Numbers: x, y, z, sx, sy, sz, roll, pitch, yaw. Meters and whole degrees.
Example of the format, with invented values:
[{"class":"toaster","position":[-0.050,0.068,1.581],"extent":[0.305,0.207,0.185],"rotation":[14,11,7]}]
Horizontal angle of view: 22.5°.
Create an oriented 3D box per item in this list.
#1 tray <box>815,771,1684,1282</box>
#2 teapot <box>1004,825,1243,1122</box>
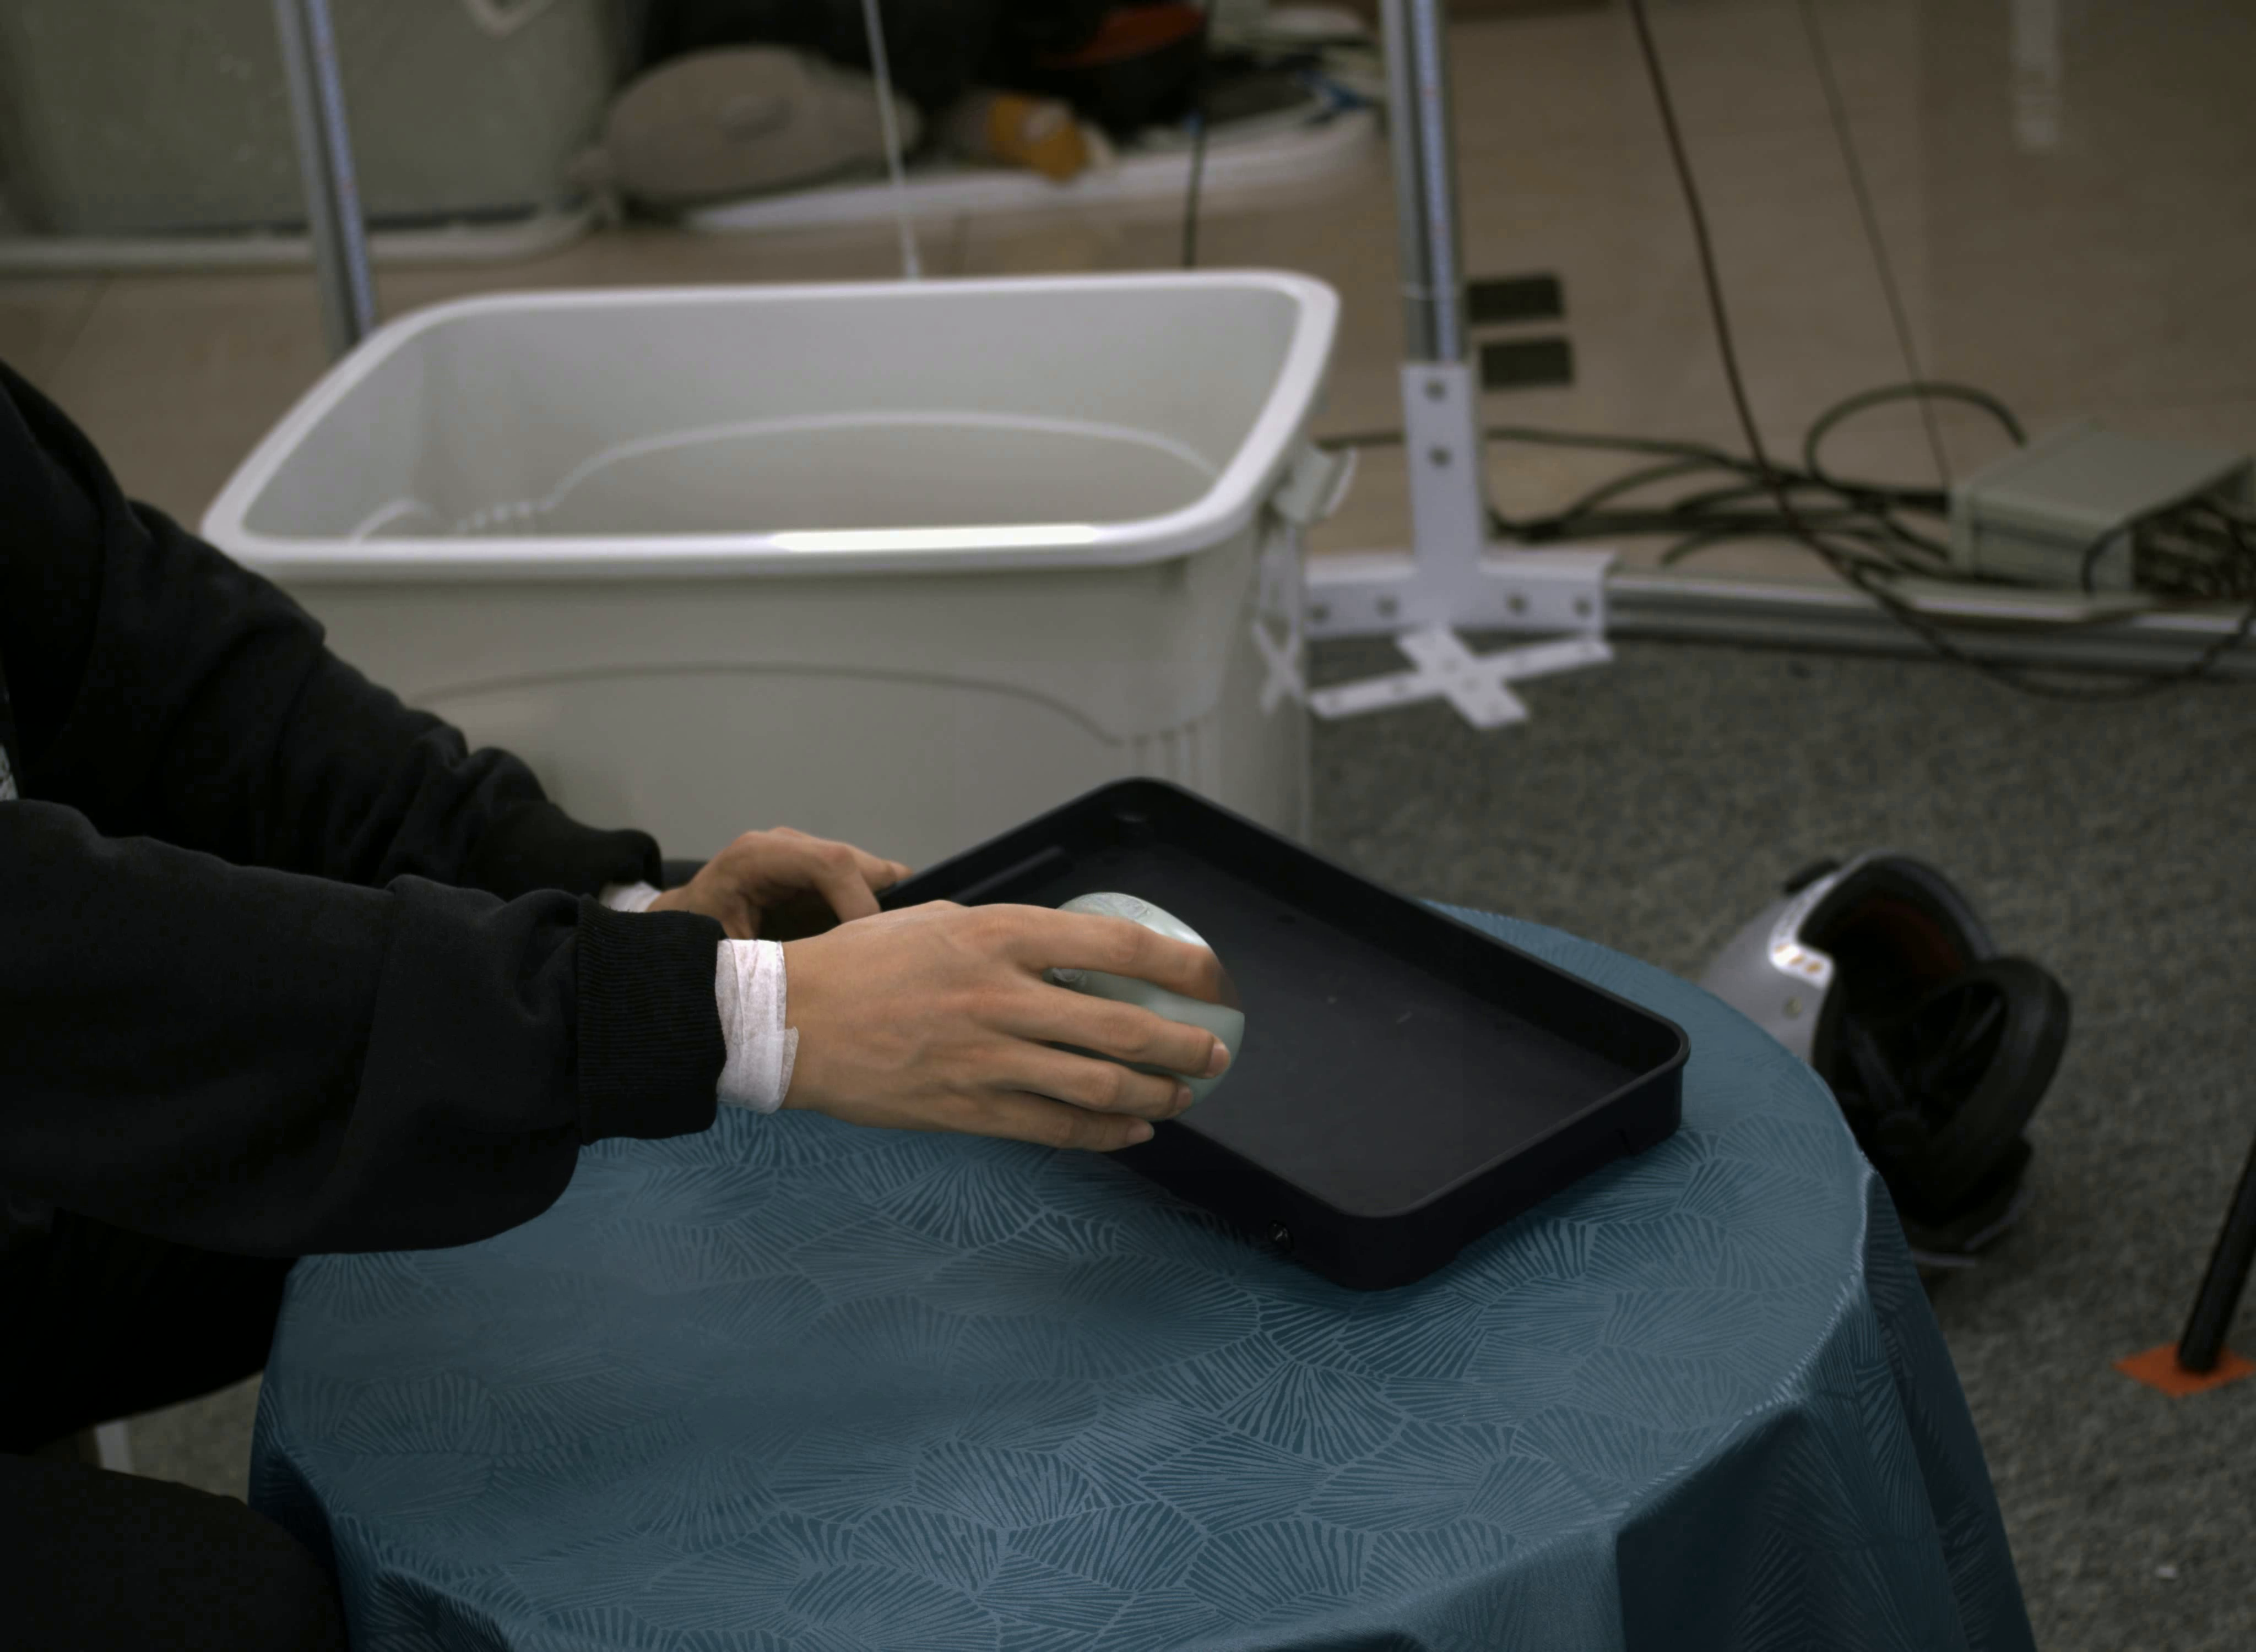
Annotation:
[{"class":"tray","position":[0.044,0.073,2.199],"extent":[0.315,0.038,0.182],"rotation":[25,40,38]},{"class":"teapot","position":[-0.001,0.065,2.050],"extent":[0.087,0.146,0.074],"rotation":[24,66,33]}]
